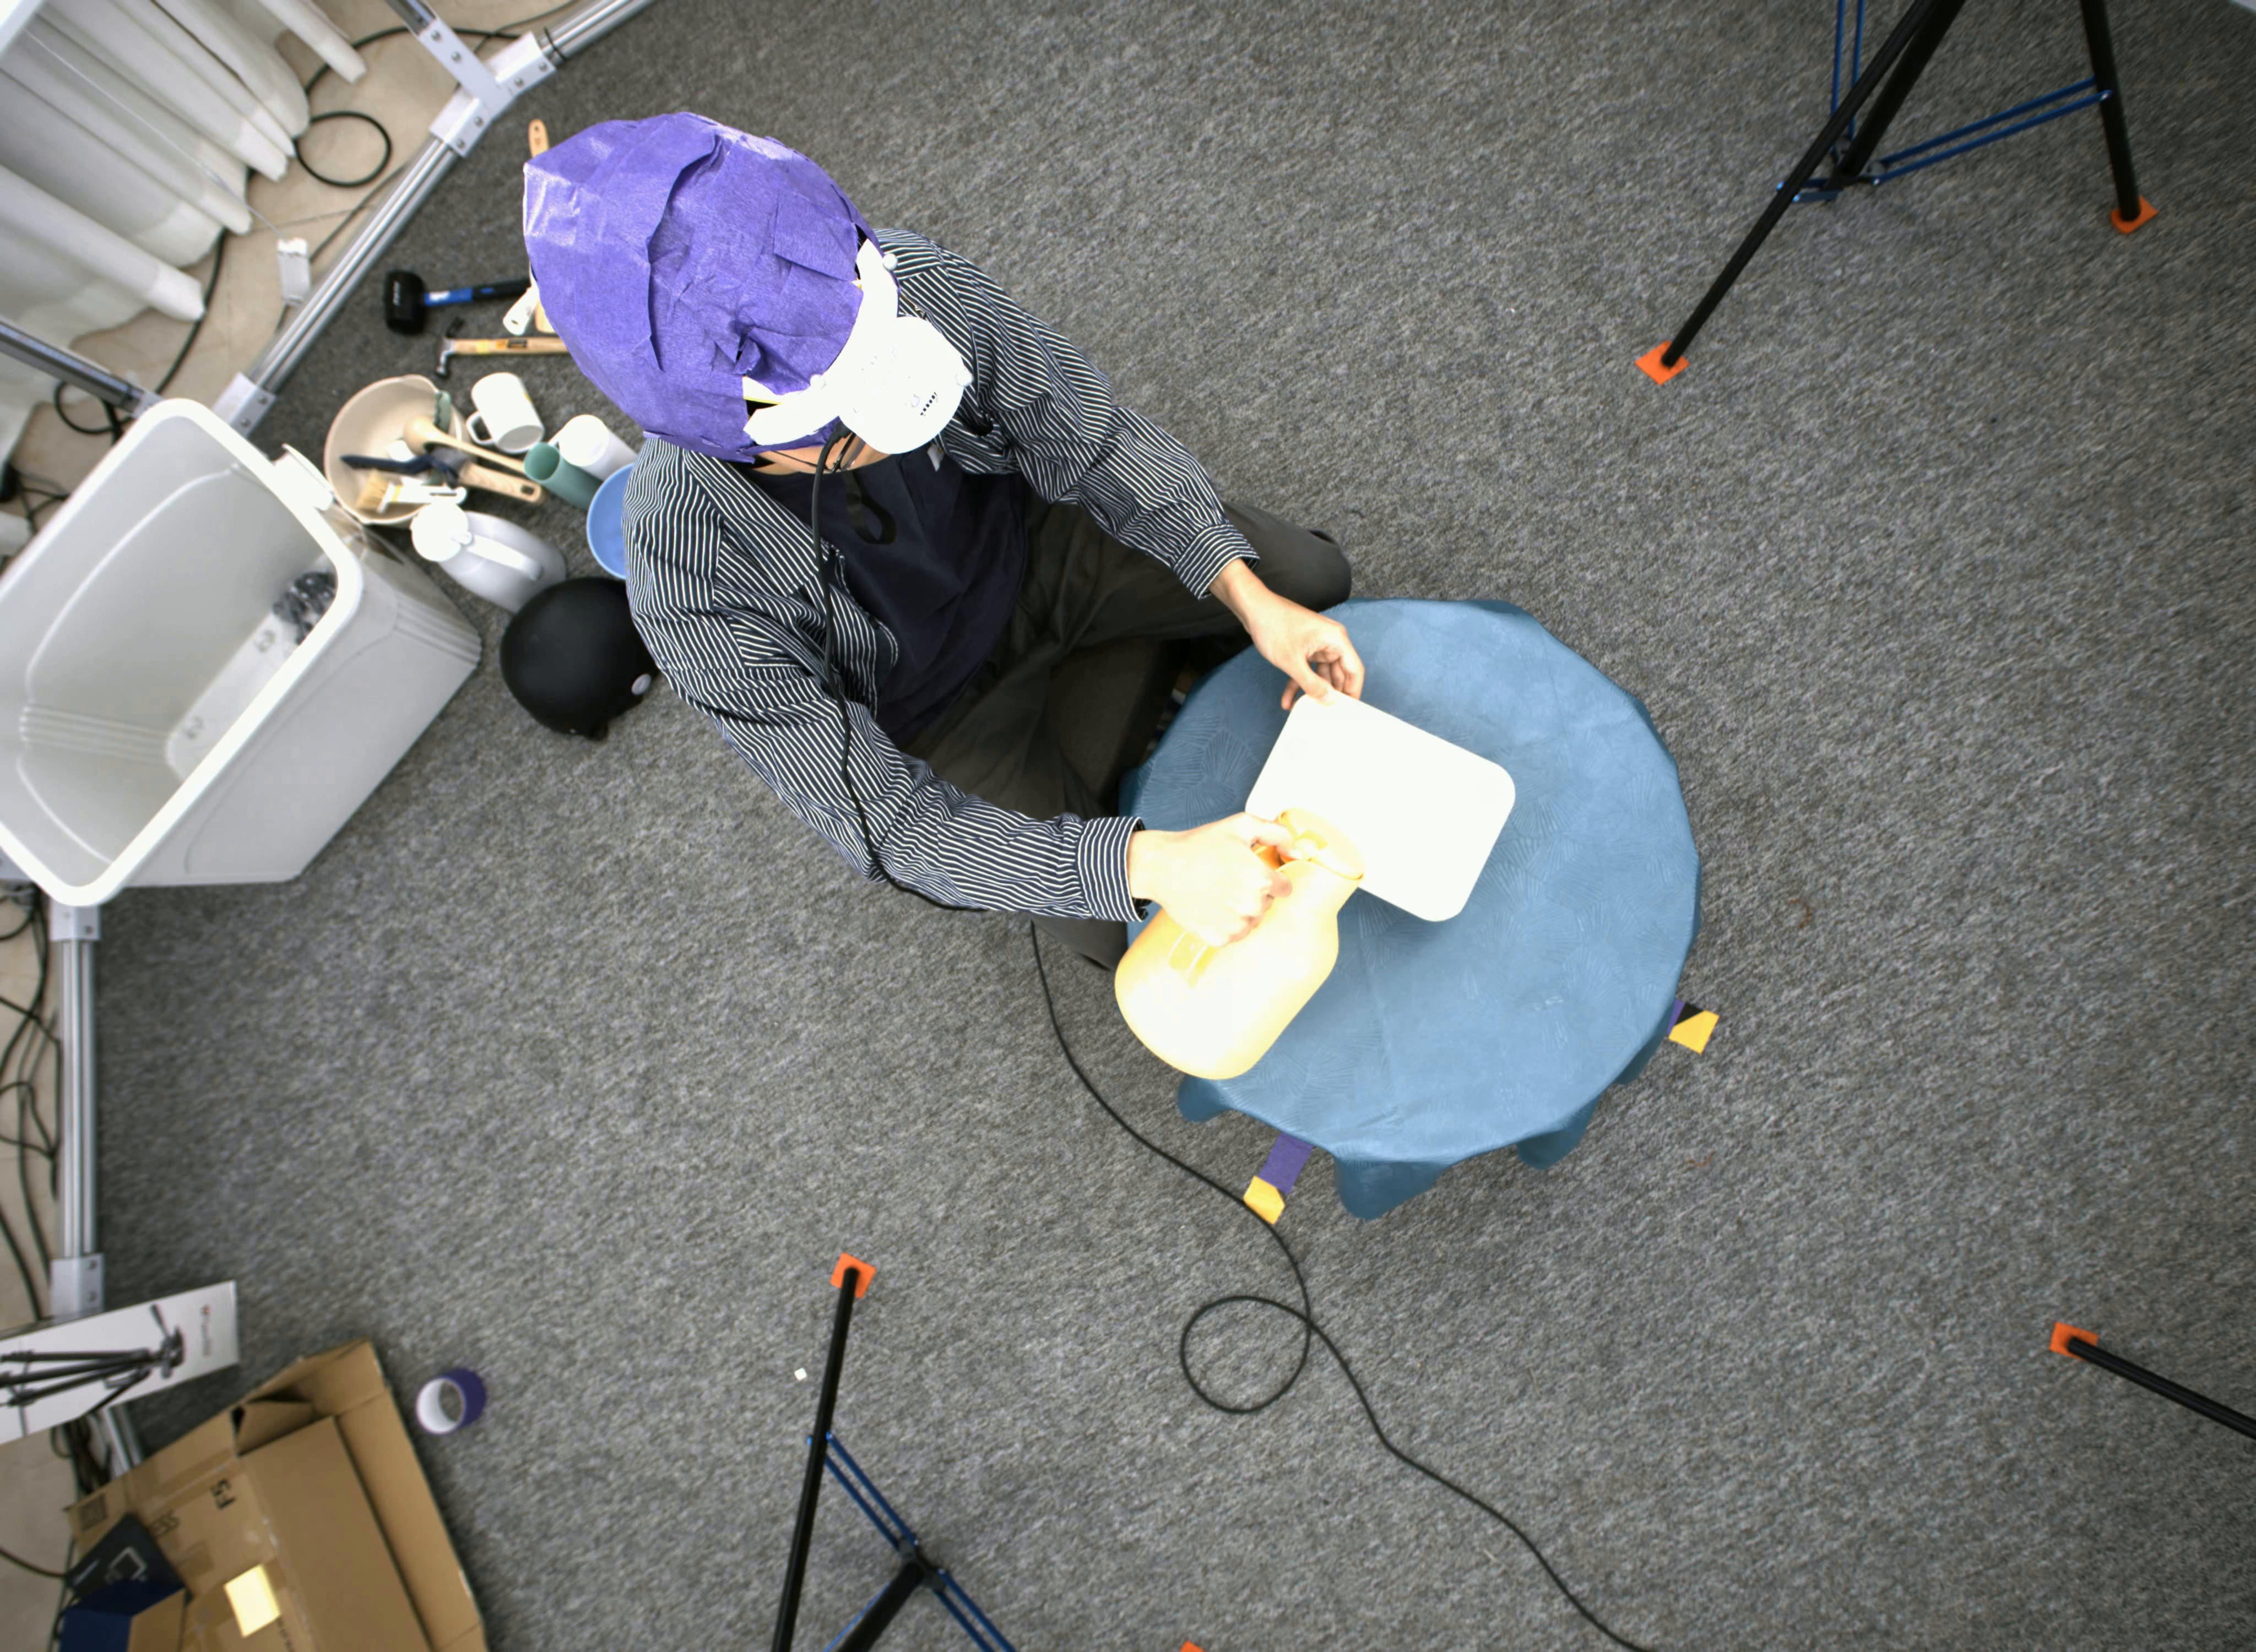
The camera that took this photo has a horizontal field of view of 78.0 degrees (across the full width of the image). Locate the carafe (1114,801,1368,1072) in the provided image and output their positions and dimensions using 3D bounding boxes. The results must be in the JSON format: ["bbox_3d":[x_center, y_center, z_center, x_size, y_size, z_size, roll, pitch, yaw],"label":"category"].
[{"bbox_3d":[0.102,0.097,1.274,0.162,0.200,0.265,44,116,18],"label":"carafe"}]

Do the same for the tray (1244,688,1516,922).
[{"bbox_3d":[0.249,-0.023,1.368,0.239,0.017,0.171,26,90,10],"label":"tray"}]
